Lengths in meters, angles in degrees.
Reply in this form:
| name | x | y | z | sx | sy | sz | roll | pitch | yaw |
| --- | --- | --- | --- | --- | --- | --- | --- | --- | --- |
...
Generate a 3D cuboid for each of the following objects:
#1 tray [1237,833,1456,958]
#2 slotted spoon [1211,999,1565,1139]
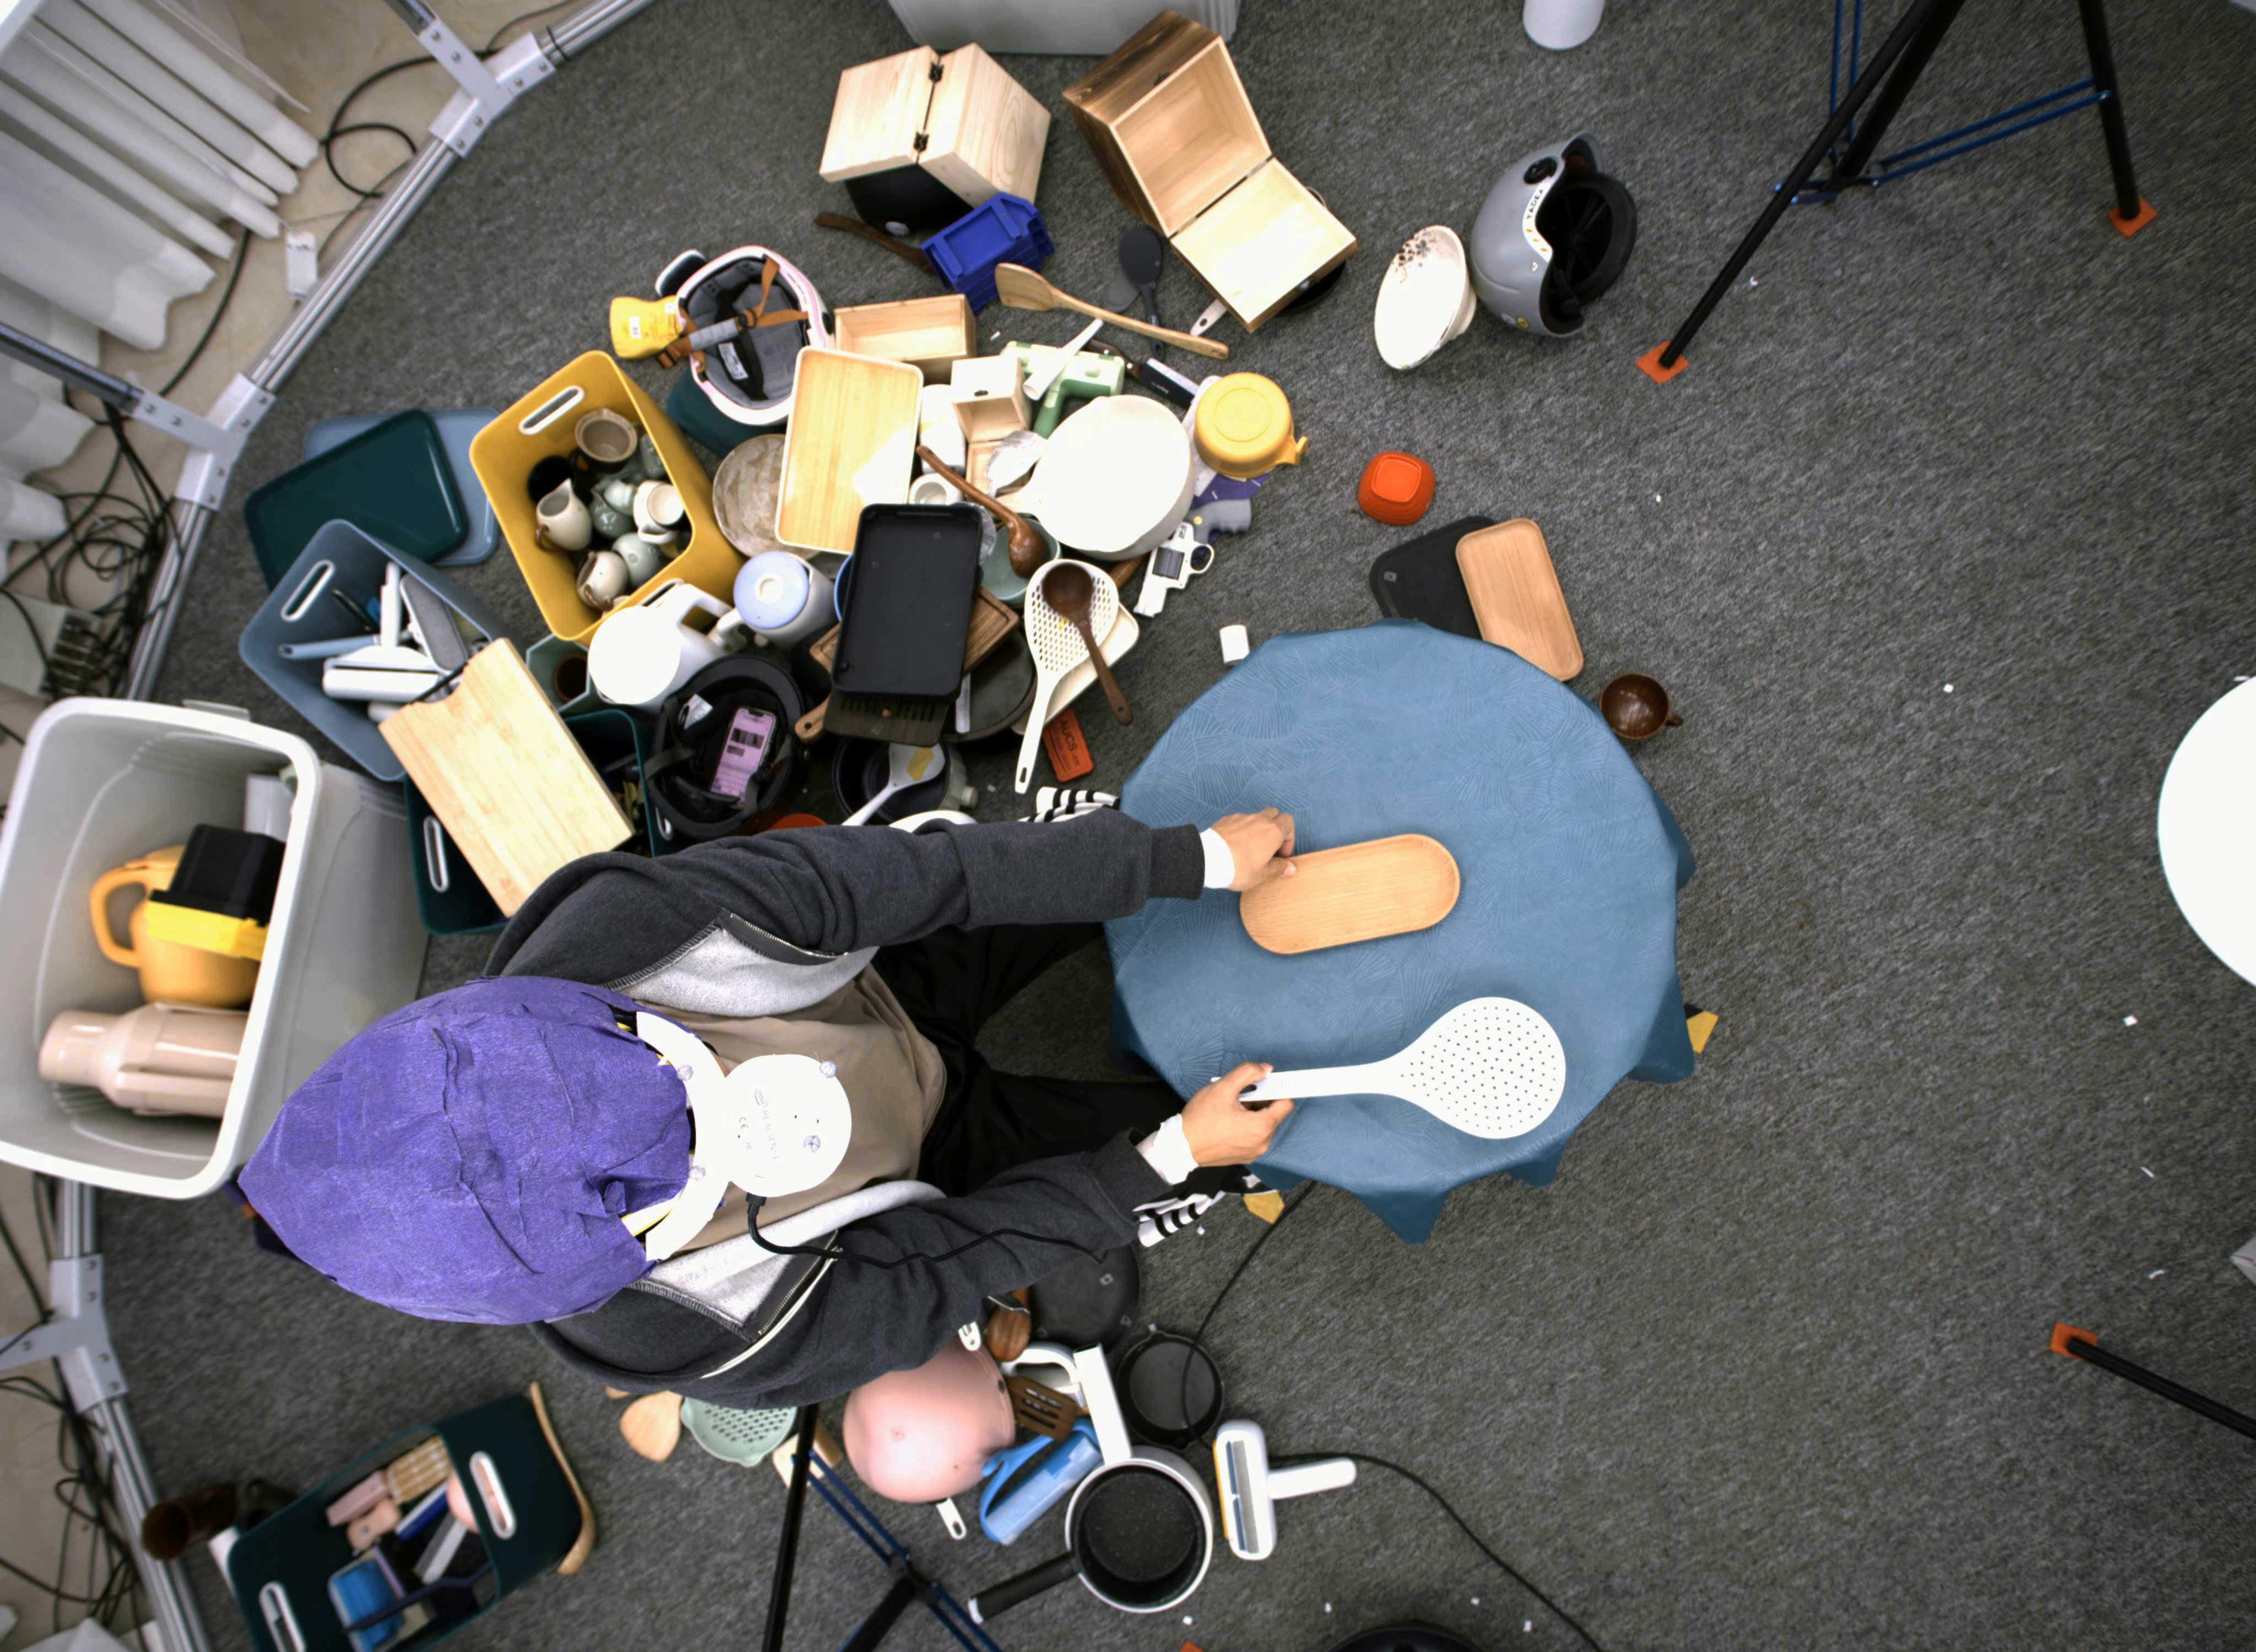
| name | x | y | z | sx | sy | sz | roll | pitch | yaw |
| --- | --- | --- | --- | --- | --- | --- | --- | --- | --- |
| tray | 0.229 | 0.072 | 1.452 | 0.232 | 0.020 | 0.101 | -14 | 87 | 8 |
| slotted spoon | 0.257 | 0.252 | 1.390 | 0.351 | 0.046 | 0.135 | -6 | 80 | 8 |
